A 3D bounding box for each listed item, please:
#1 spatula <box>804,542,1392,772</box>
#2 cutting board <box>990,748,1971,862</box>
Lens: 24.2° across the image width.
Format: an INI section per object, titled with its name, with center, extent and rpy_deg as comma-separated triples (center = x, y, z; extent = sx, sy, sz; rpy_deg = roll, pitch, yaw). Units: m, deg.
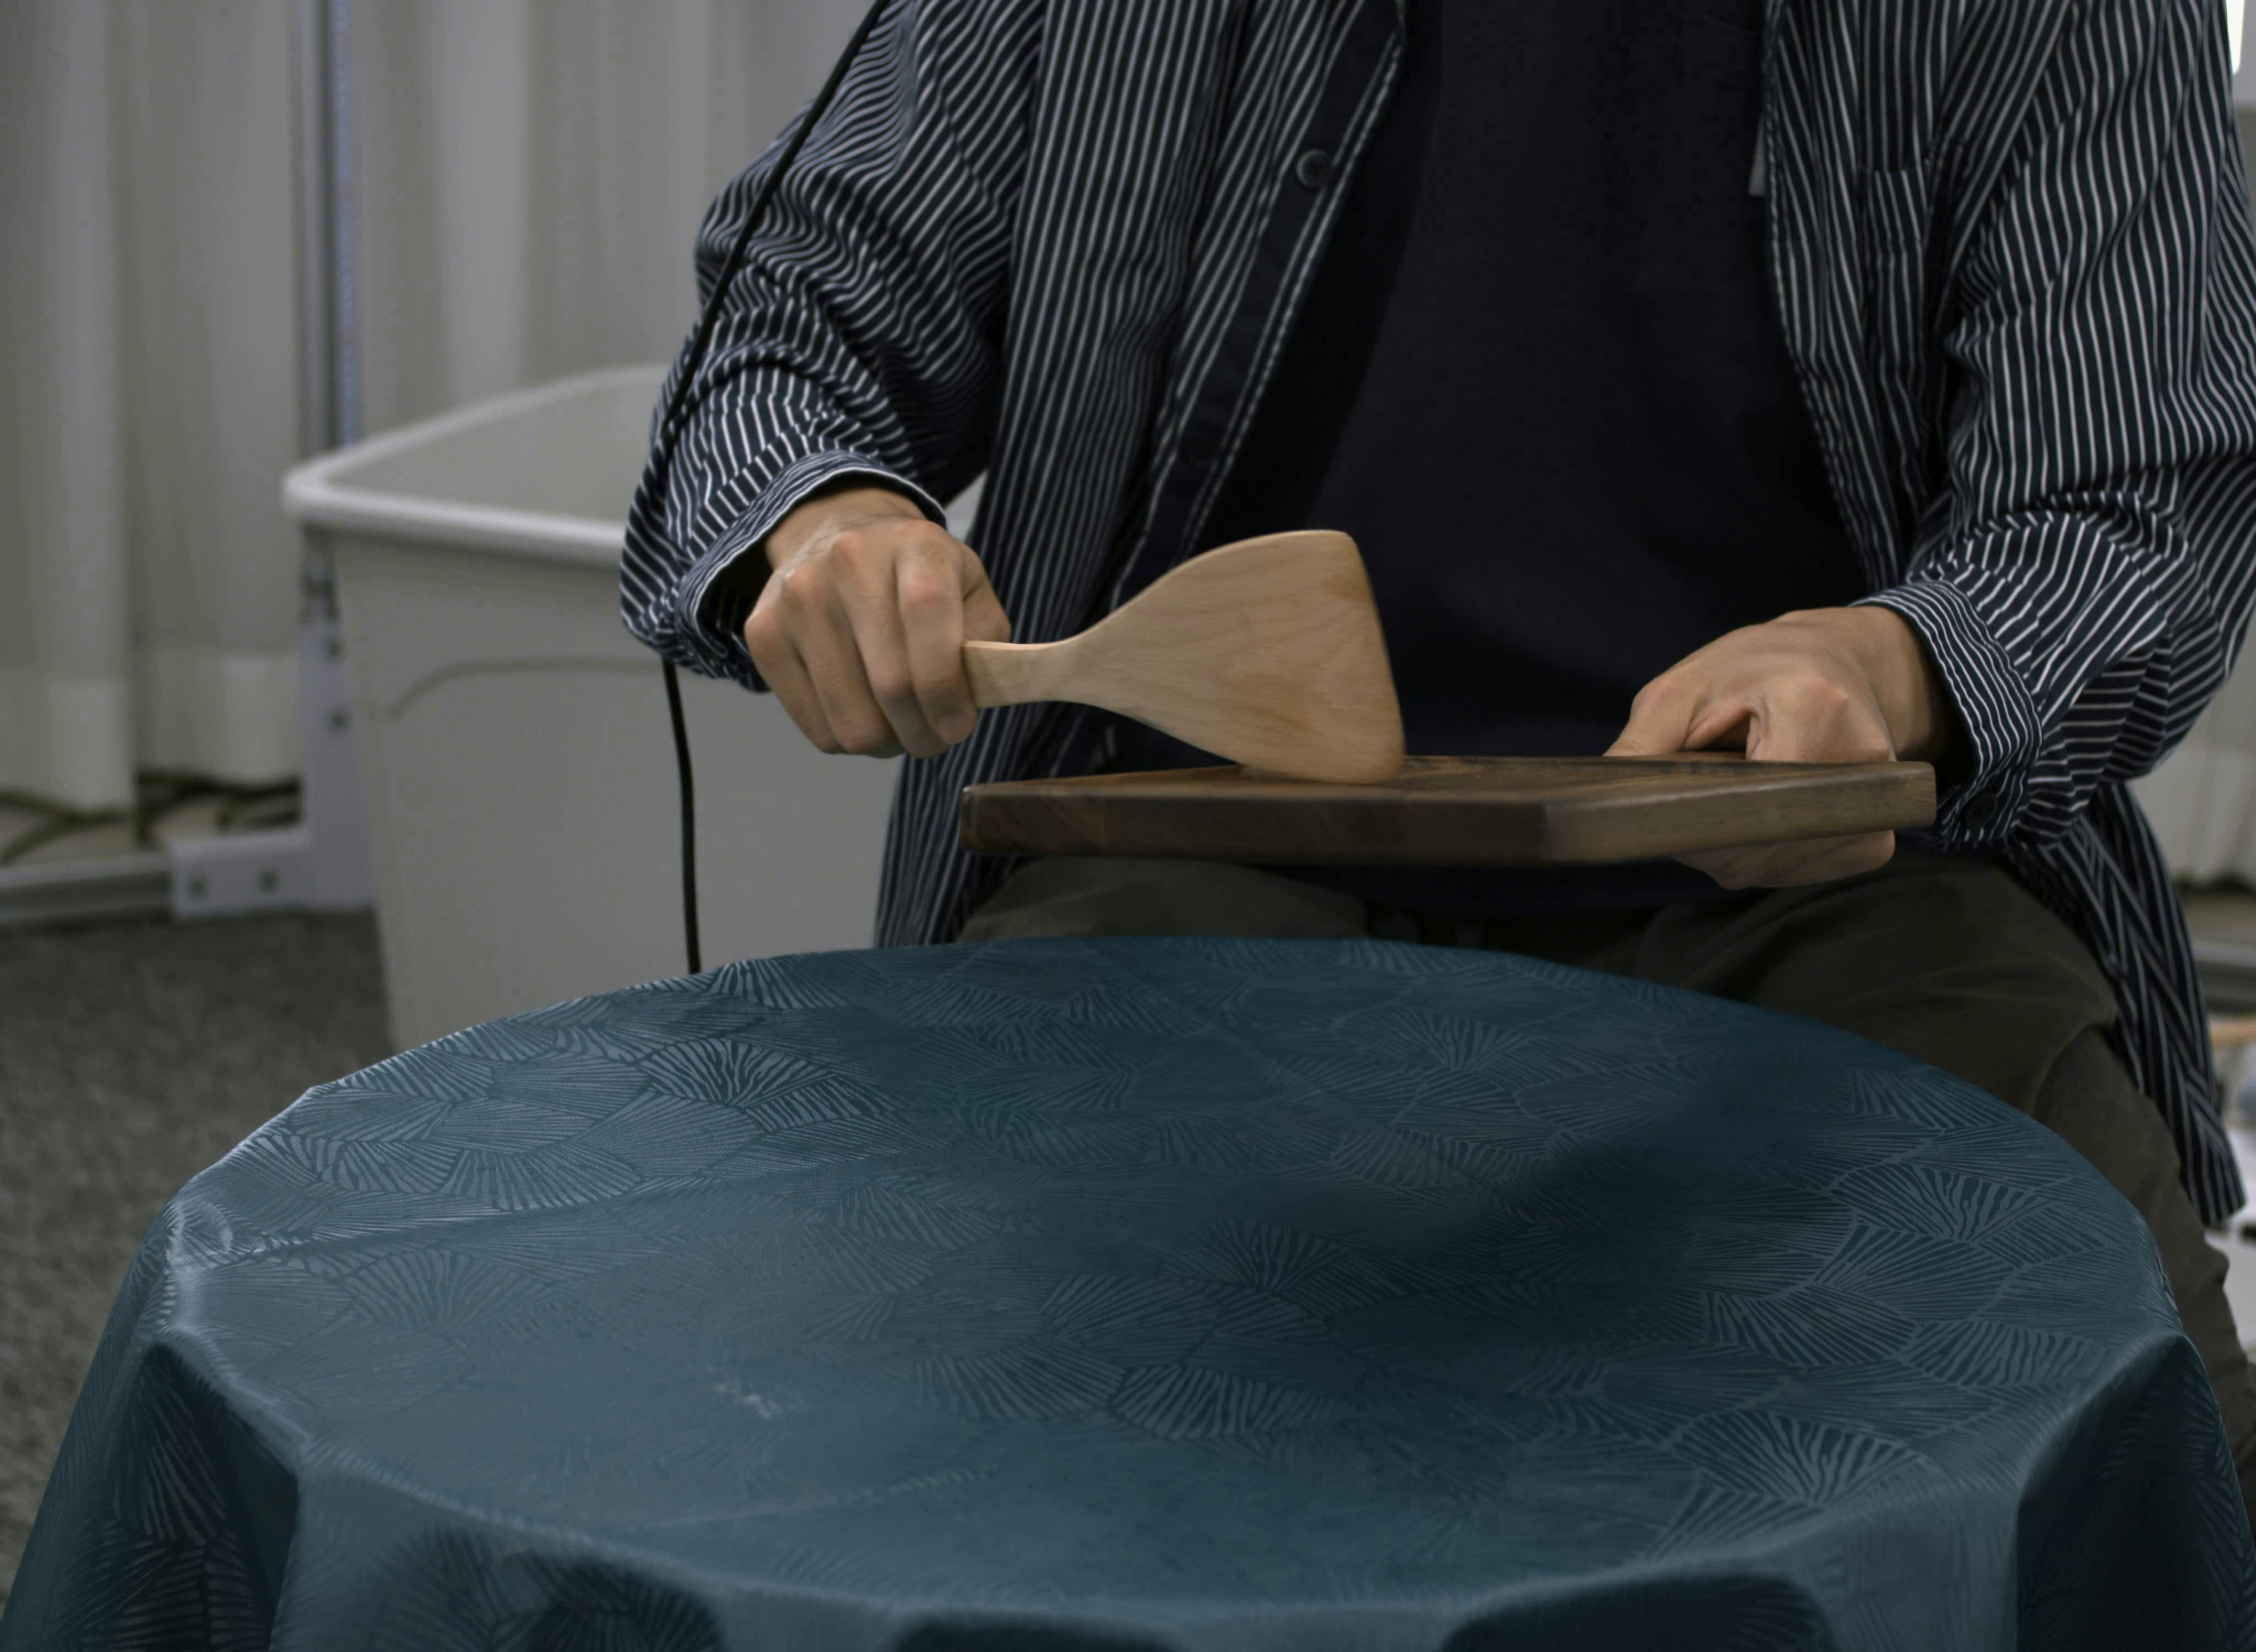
[spatula]
center = -0.017, -0.046, 1.648
extent = 0.016, 0.080, 0.324
rpy_deg = -26, 15, -29
[cutting board]
center = 0.131, -0.008, 1.547
extent = 0.199, 0.023, 0.354
rpy_deg = 1, 3, 30
